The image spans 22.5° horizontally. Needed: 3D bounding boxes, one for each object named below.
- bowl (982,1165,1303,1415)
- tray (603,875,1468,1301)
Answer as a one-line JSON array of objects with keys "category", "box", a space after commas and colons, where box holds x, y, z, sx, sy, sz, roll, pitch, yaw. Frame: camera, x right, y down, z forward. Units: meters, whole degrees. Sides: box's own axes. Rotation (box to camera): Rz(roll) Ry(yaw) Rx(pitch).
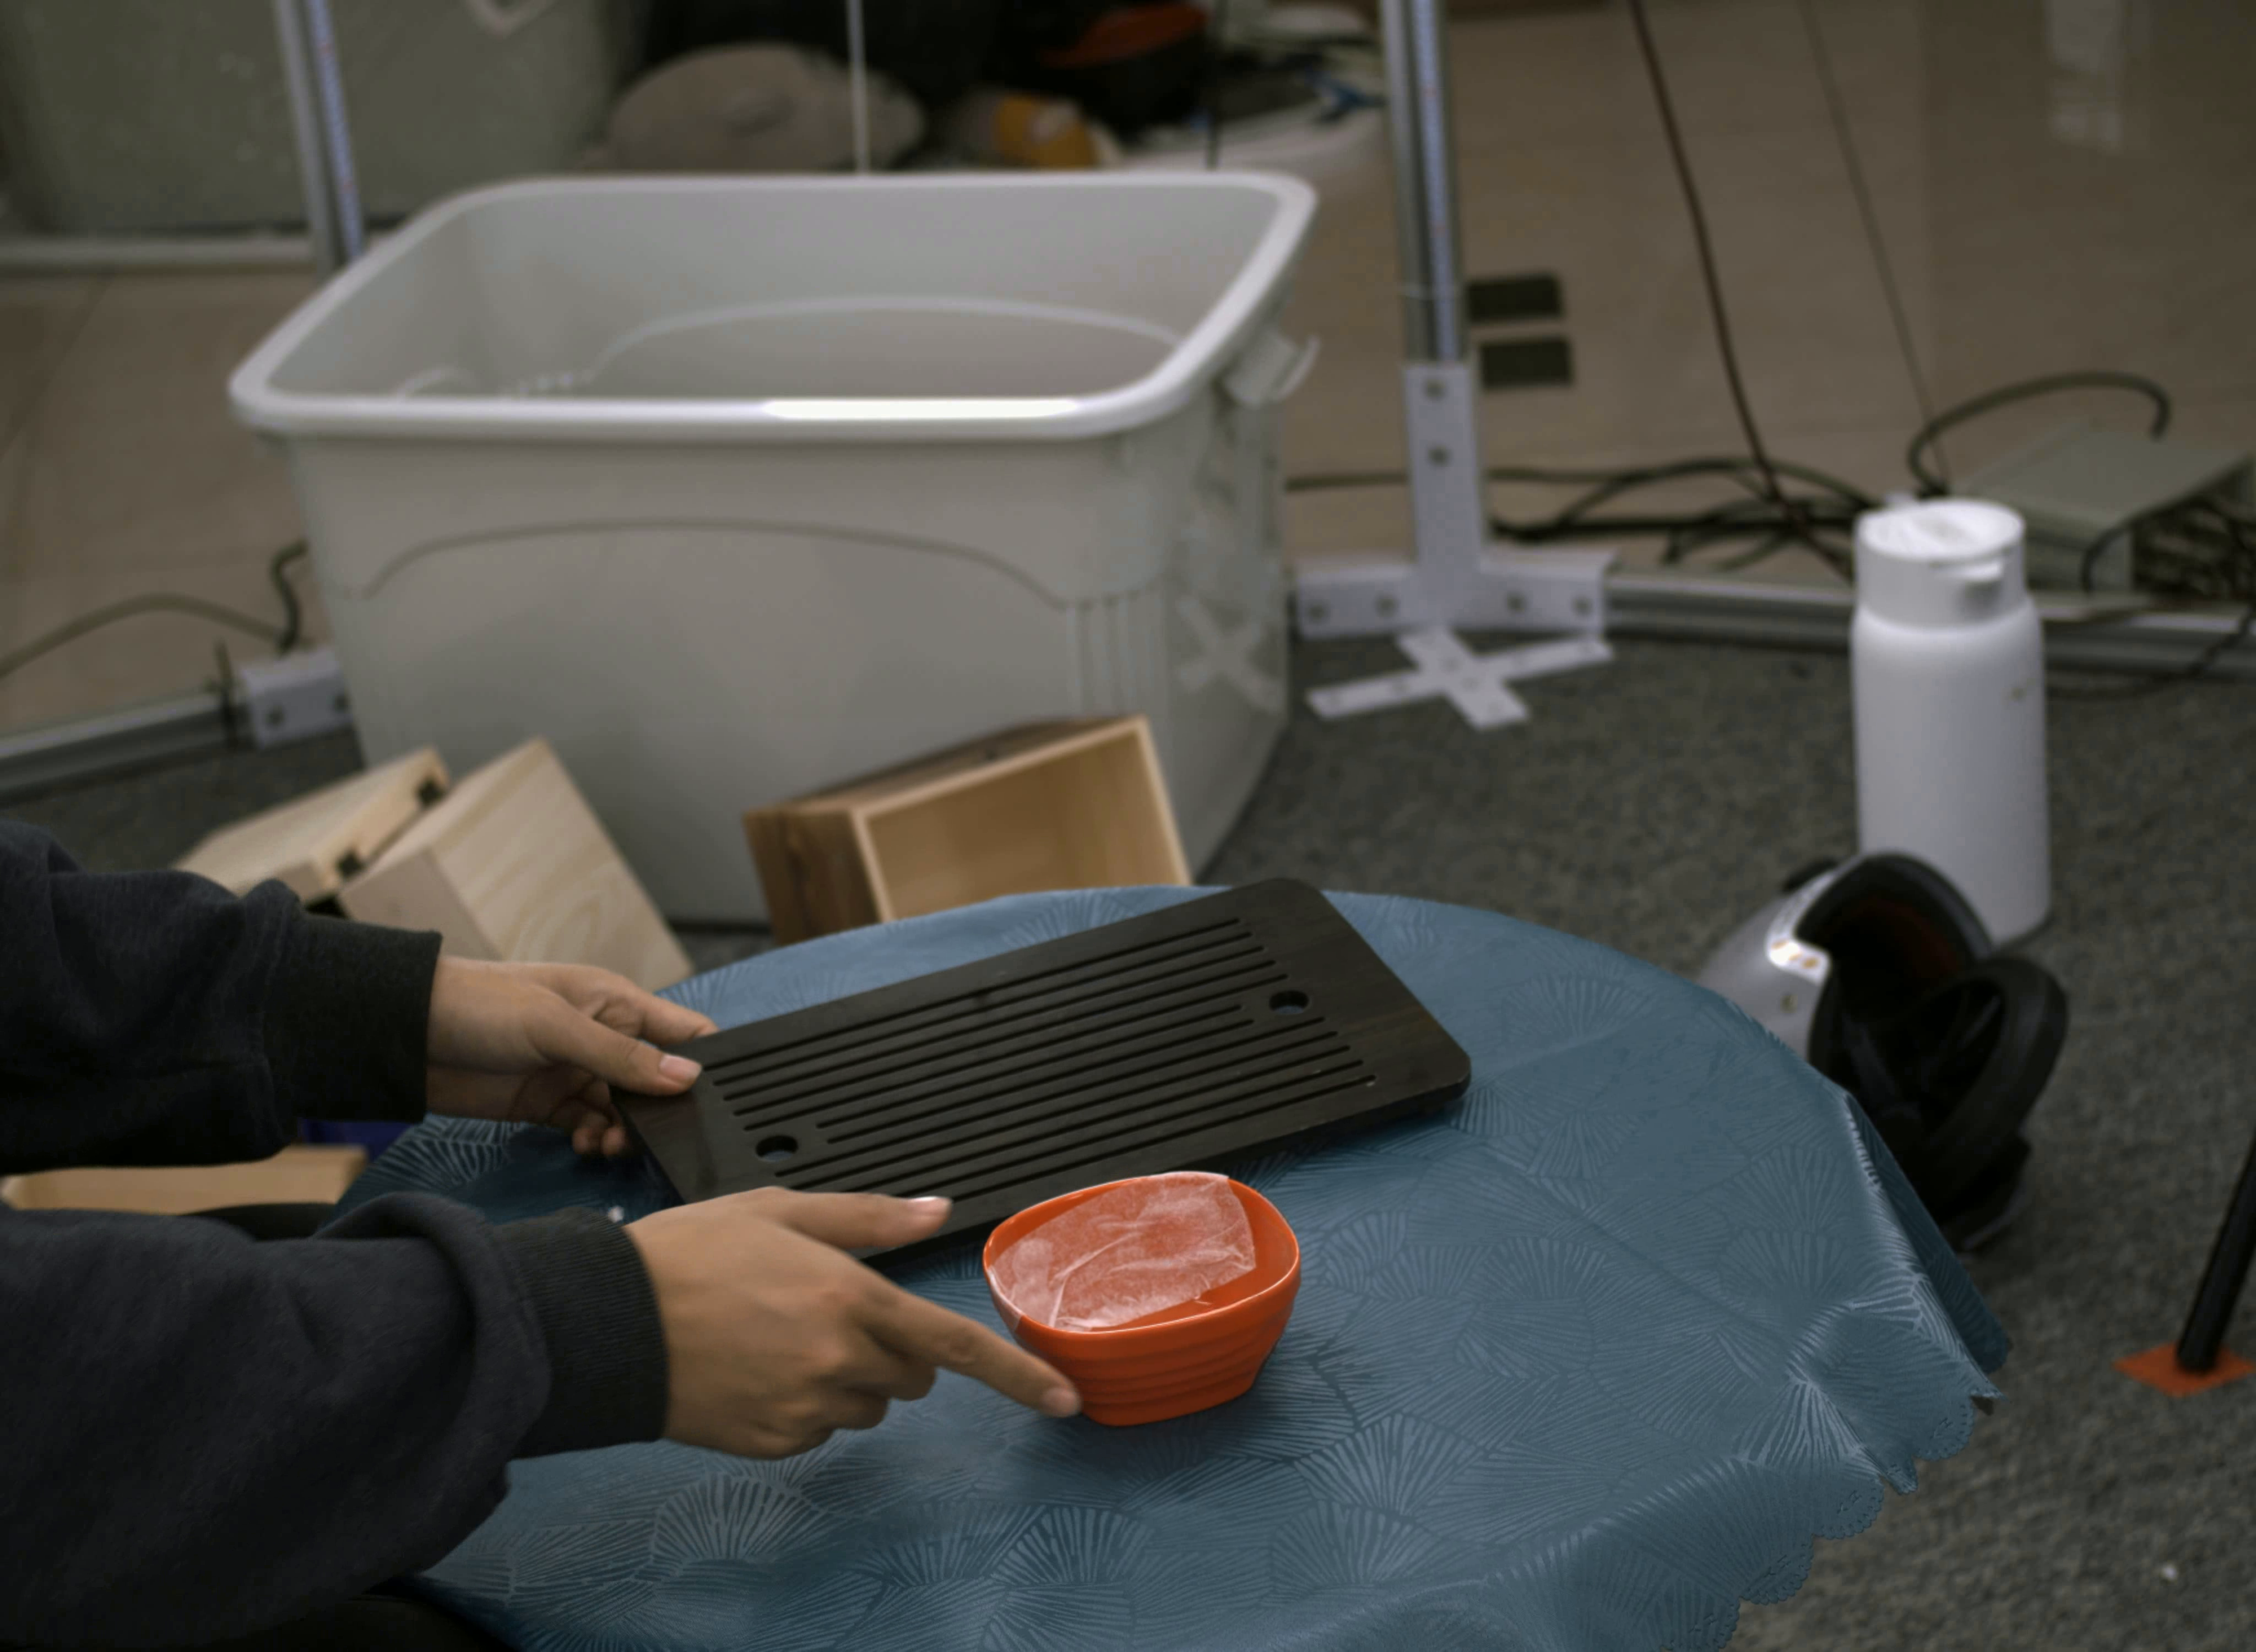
[{"category": "bowl", "box": [0.005, 0.169, 2.011, 0.119, 0.052, 0.117, -1, 25, 1]}, {"category": "tray", "box": [-0.036, 0.100, 2.194, 0.305, 0.019, 0.167, -15, 34, -18]}]
